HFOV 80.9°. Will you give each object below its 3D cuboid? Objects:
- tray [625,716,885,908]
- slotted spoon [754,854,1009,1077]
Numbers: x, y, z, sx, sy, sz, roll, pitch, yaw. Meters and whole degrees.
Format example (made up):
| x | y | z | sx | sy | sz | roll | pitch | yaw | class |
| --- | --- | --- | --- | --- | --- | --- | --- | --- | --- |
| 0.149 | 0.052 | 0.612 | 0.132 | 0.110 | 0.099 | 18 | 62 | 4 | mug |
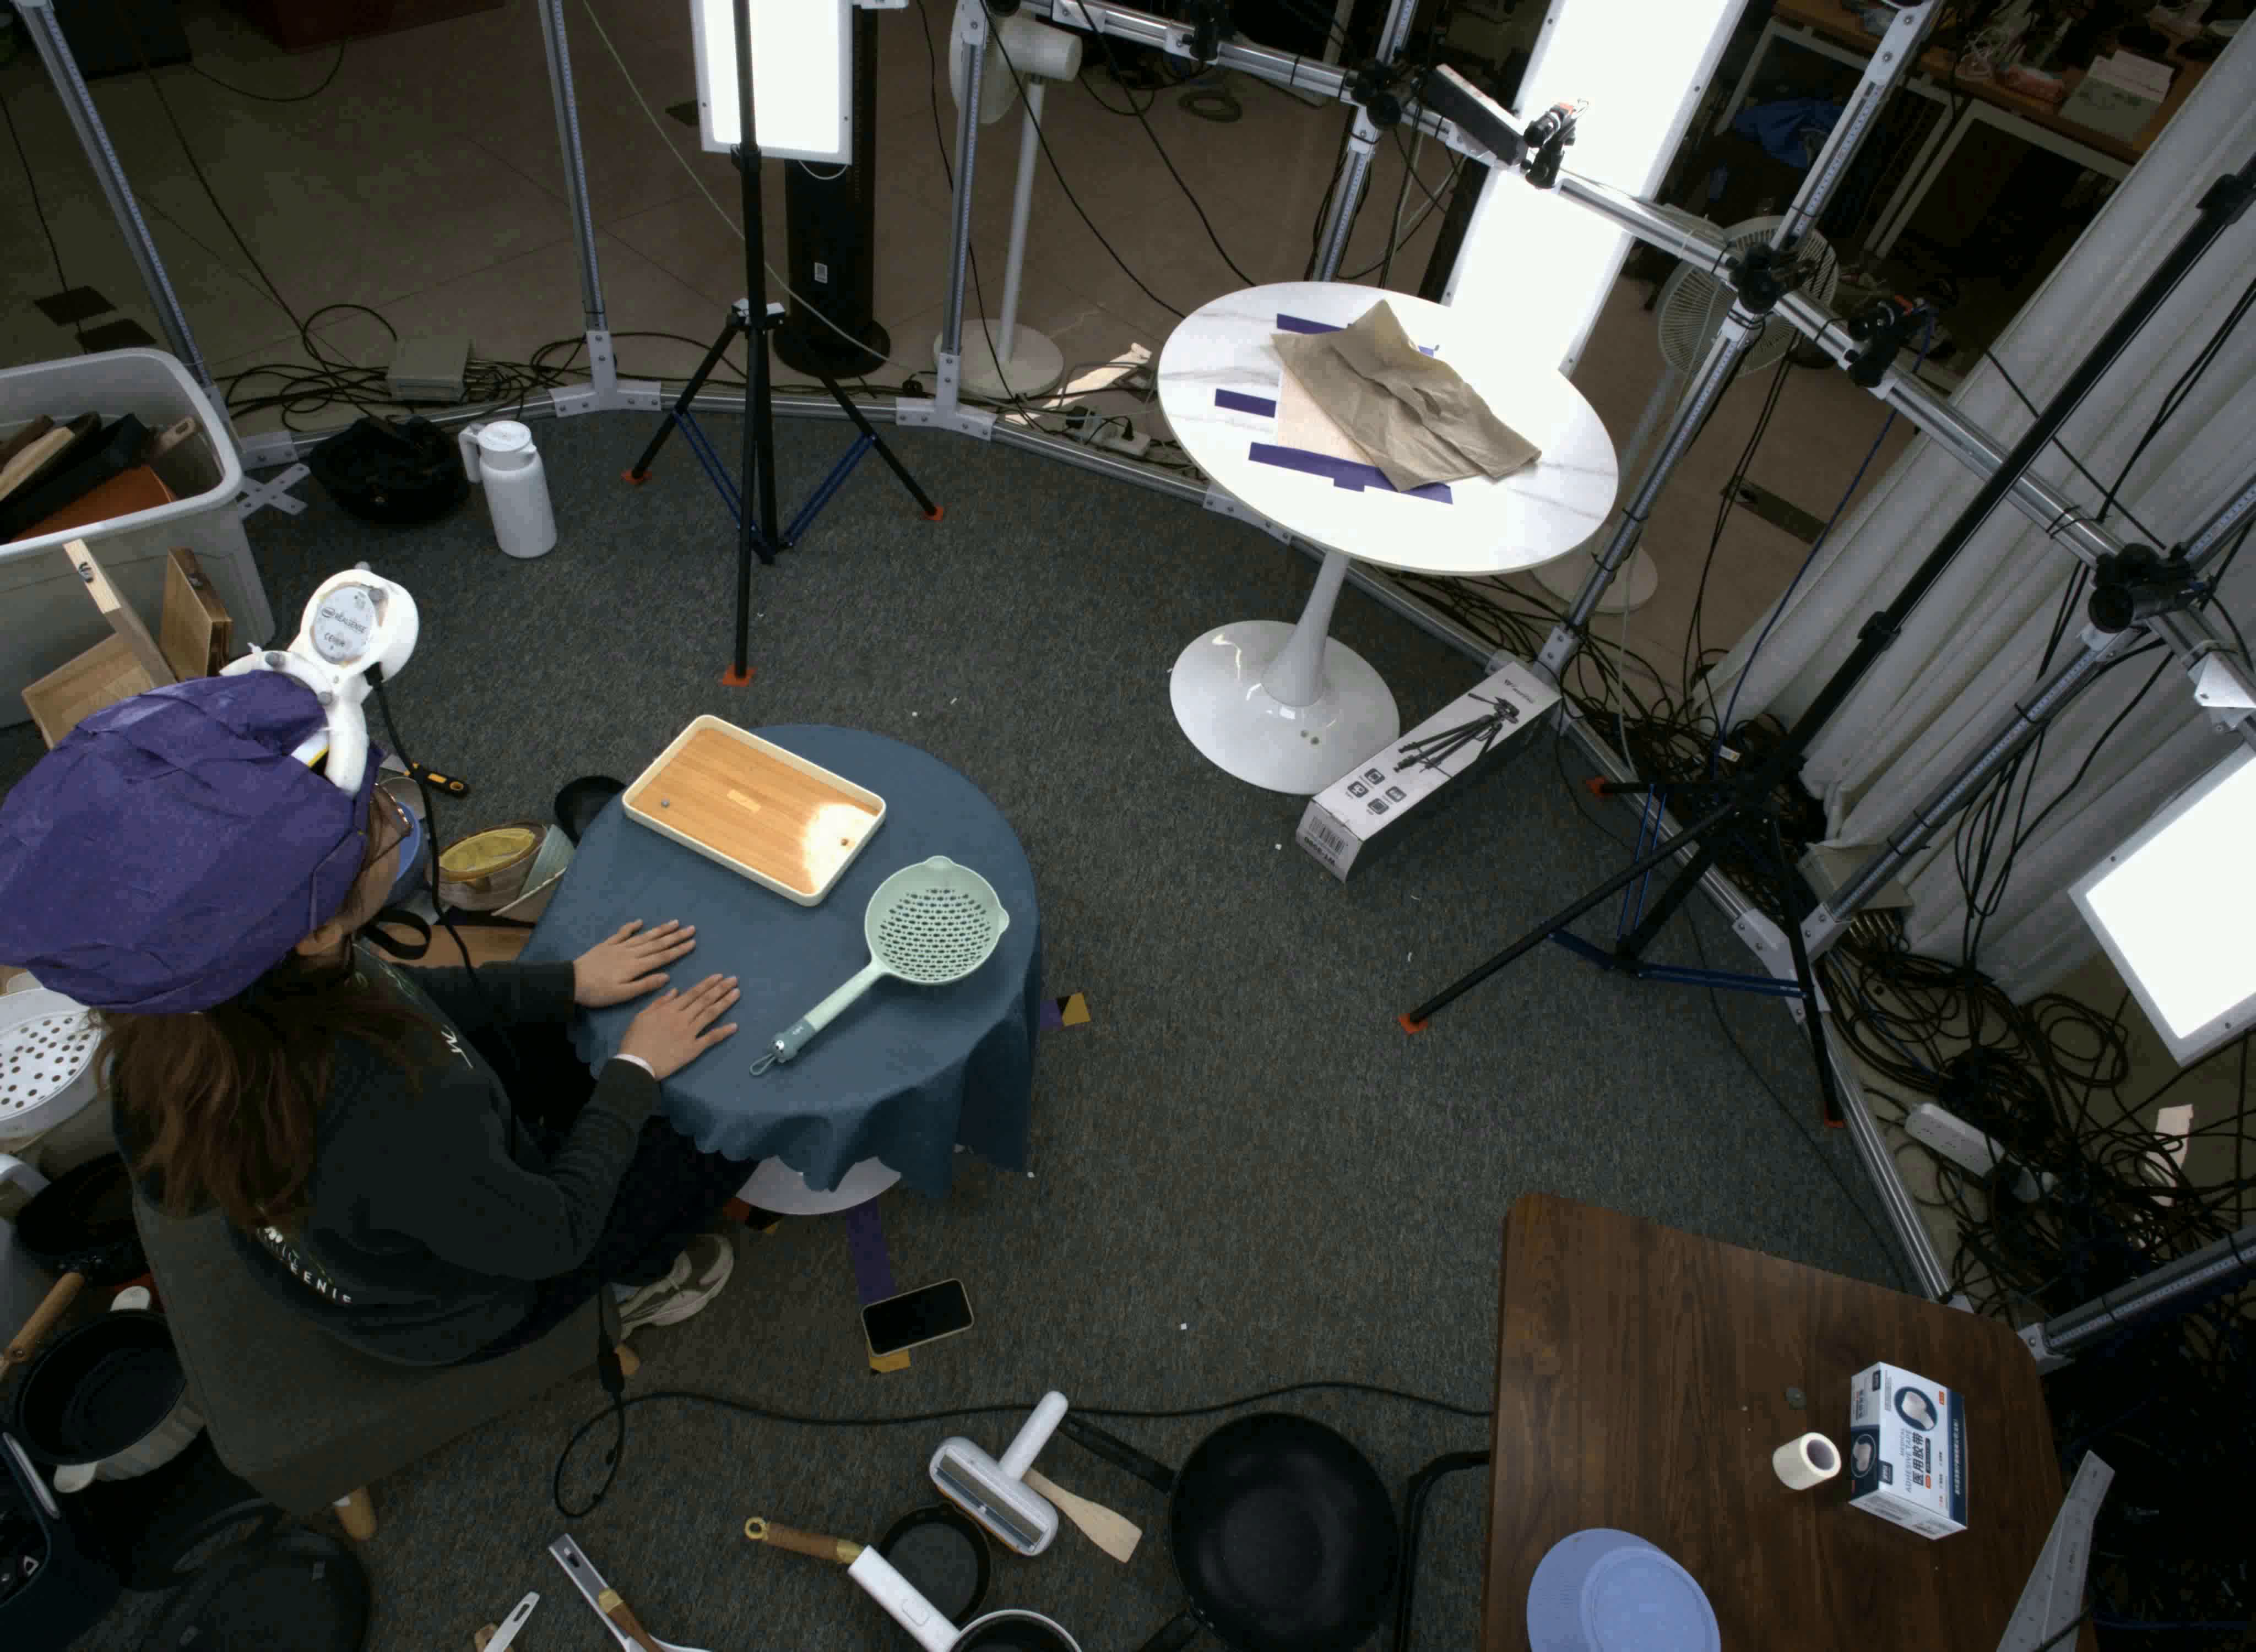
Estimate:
| x | y | z | sx | sy | sz | roll | pitch | yaw | class |
| --- | --- | --- | --- | --- | --- | --- | --- | --- | --- |
| -0.492 | -0.024 | 1.713 | 0.296 | 0.028 | 0.190 | 26 | 52 | 6 | tray |
| -0.309 | 0.177 | 1.585 | 0.165 | 0.077 | 0.359 | 41 | 55 | 18 | slotted spoon |
